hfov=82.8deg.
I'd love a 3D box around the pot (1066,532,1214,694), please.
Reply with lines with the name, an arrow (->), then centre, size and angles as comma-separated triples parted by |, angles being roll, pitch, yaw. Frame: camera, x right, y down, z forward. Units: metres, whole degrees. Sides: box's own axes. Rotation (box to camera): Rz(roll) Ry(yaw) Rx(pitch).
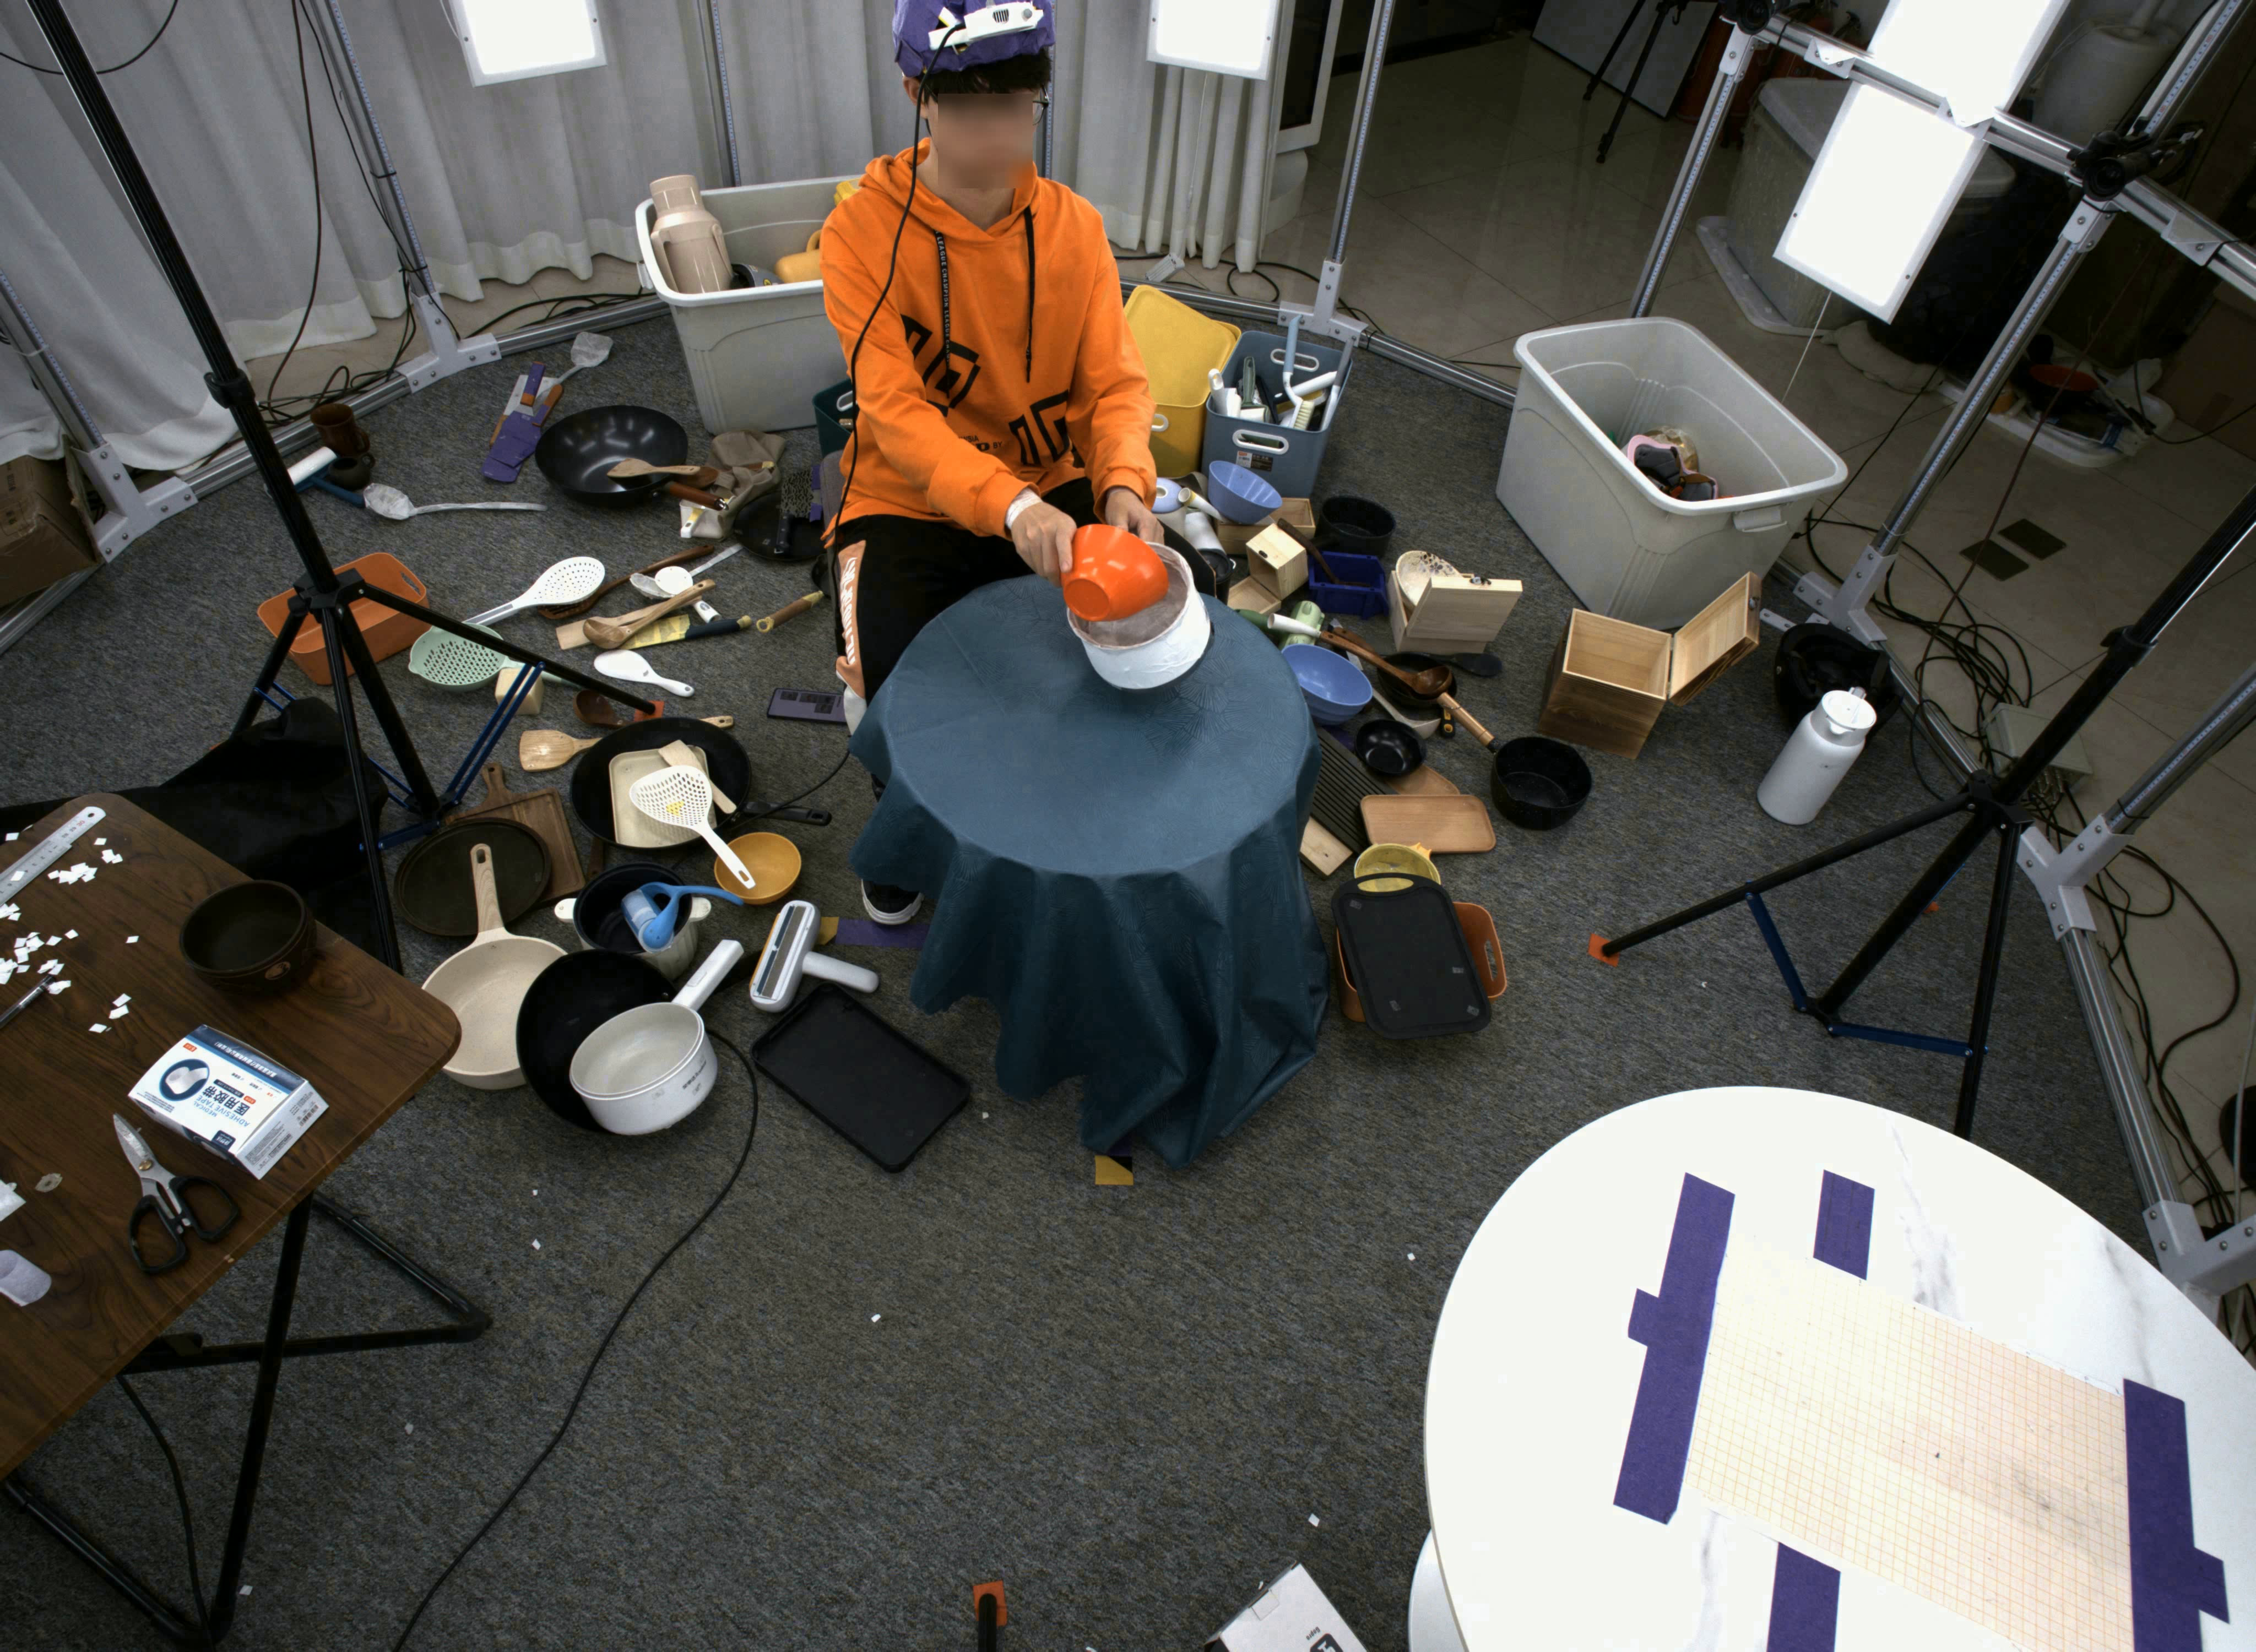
pot -> 0.017, -0.305, 1.779 | 0.178, 0.133, 0.239 | -13, 59, 11

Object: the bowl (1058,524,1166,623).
bowl -> -0.034, -0.311, 1.670 | 0.149, 0.144, 0.106 | 20, 49, 13
